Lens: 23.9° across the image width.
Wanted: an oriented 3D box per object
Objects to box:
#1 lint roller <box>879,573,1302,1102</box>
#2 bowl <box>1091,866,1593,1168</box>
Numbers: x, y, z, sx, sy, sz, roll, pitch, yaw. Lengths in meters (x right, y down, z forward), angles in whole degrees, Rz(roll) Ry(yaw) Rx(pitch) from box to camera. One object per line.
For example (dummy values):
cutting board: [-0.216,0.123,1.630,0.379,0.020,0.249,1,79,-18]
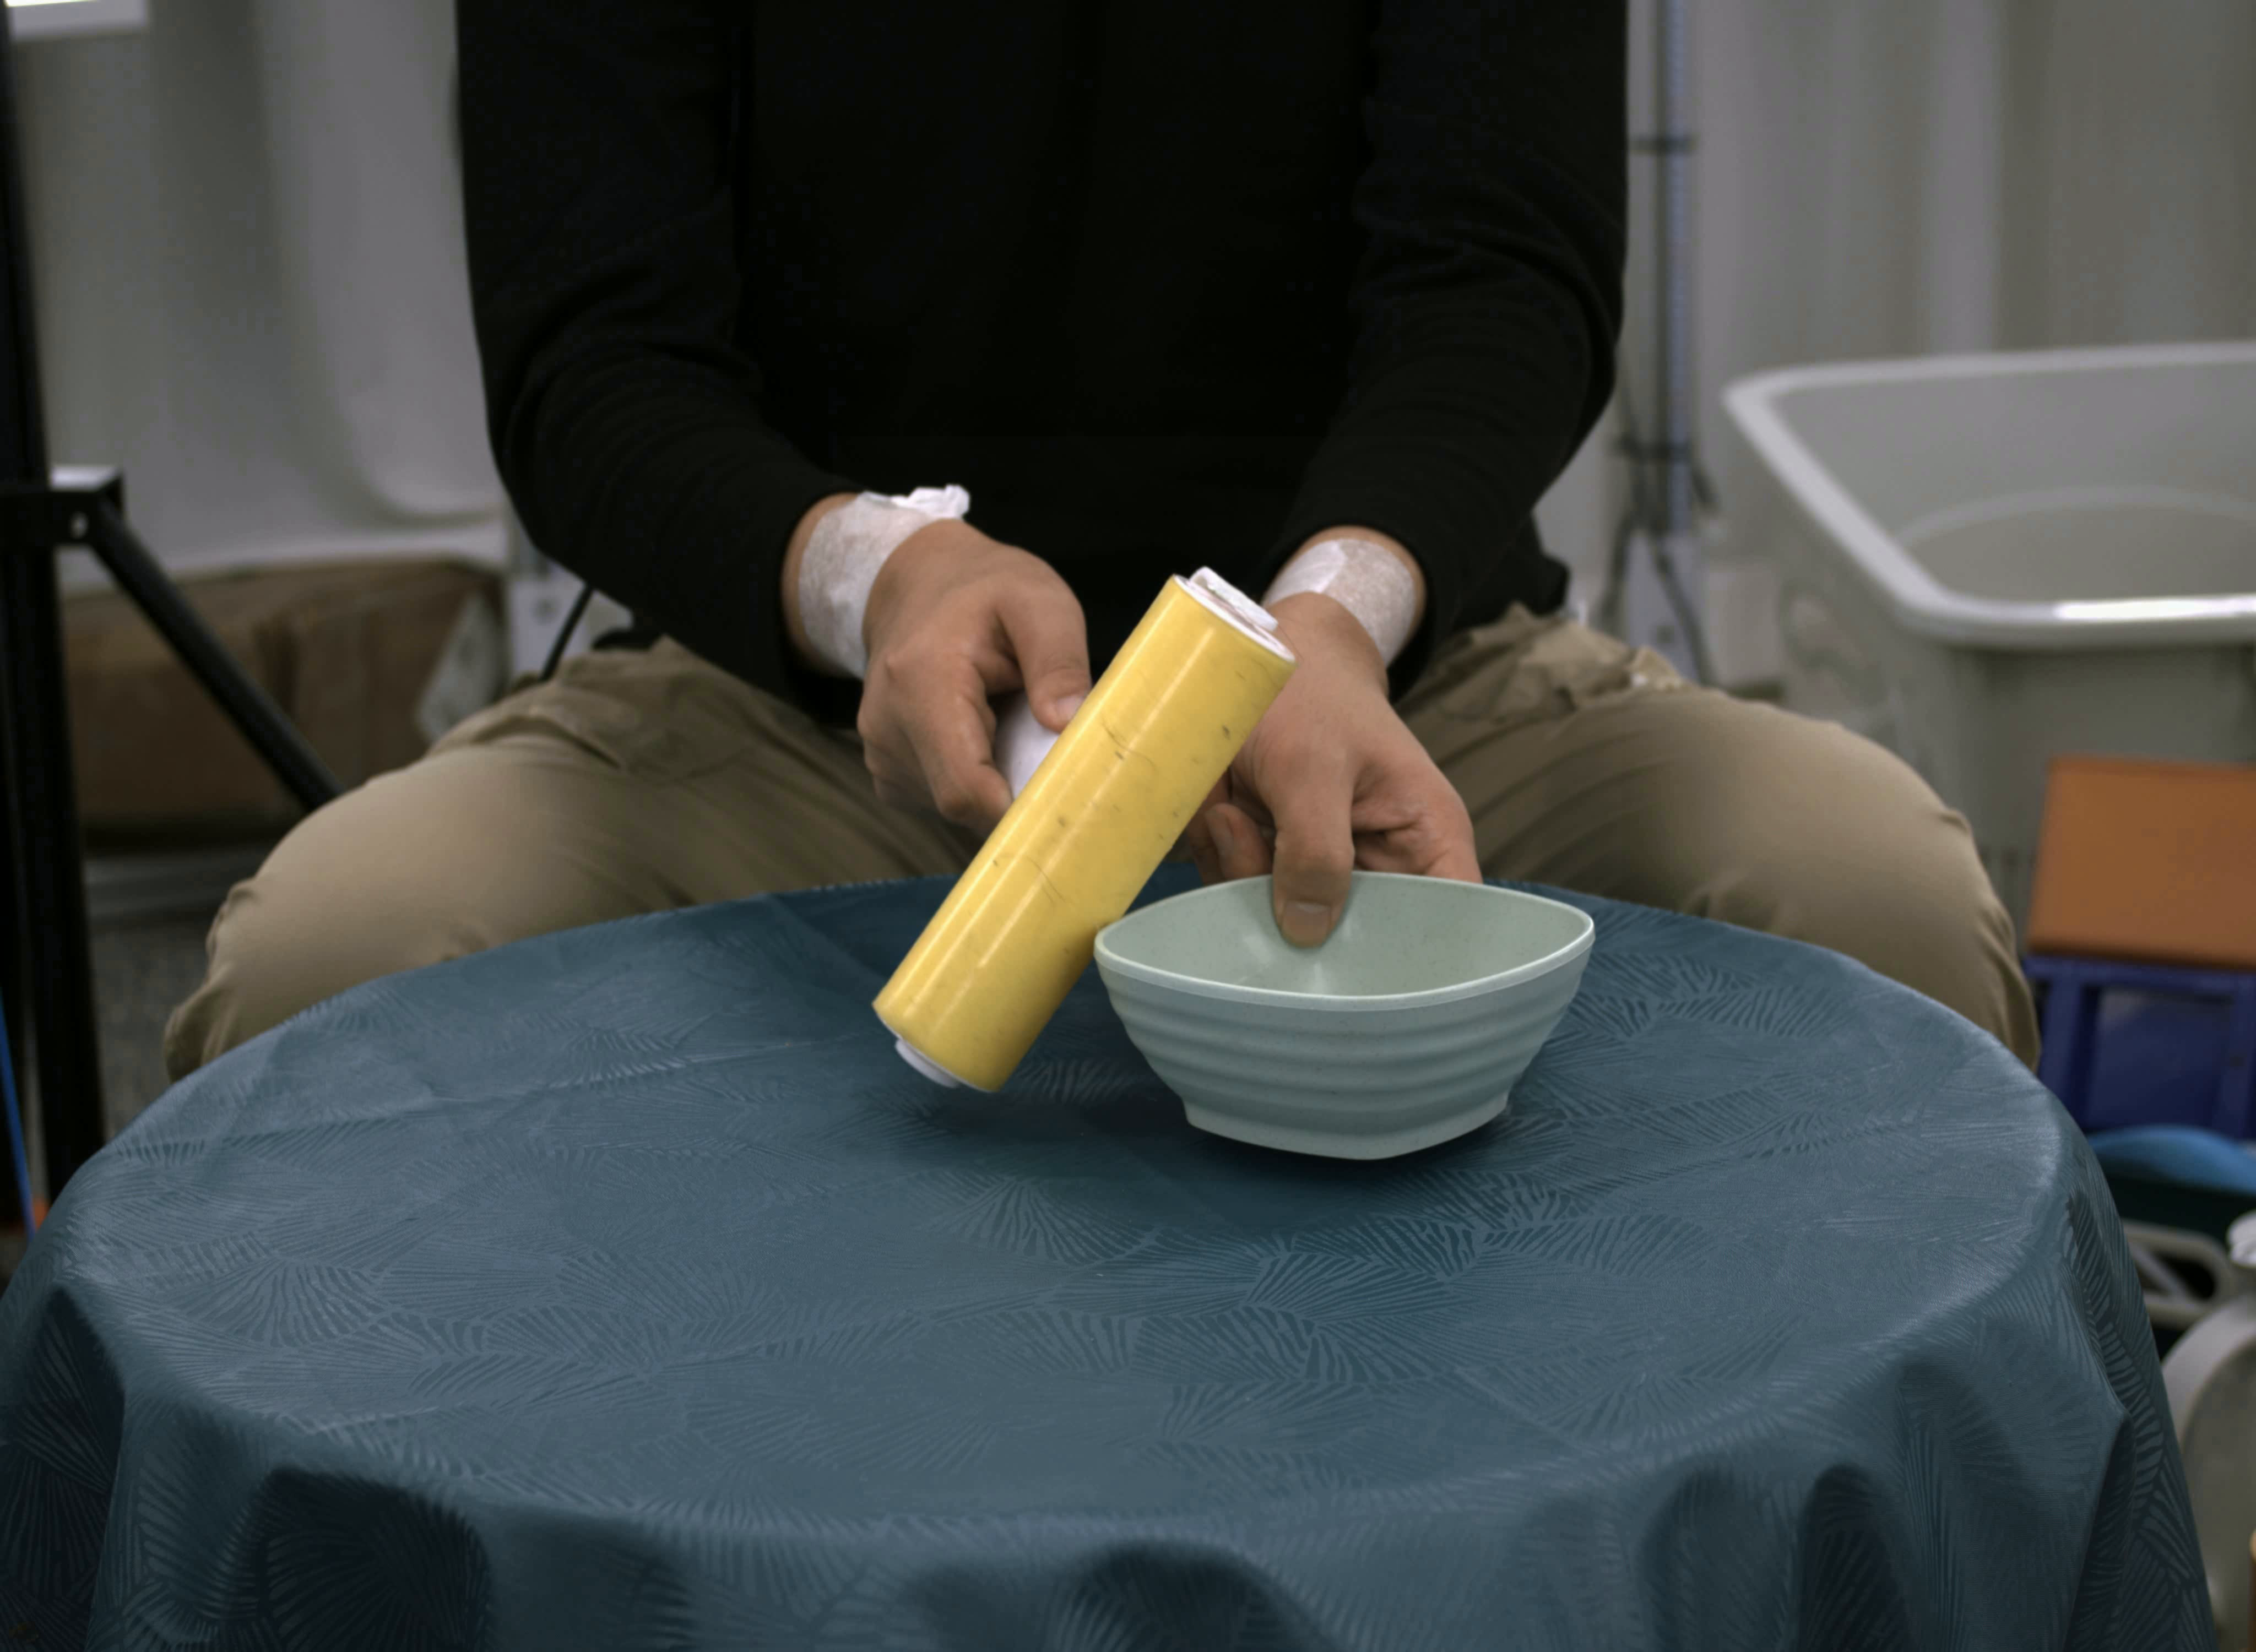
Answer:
lint roller: [-0.036,-0.018,1.672,0.050,0.175,0.195,31,6,-28]
bowl: [0.064,0.060,1.592,0.150,0.058,0.152,-1,15,-1]
